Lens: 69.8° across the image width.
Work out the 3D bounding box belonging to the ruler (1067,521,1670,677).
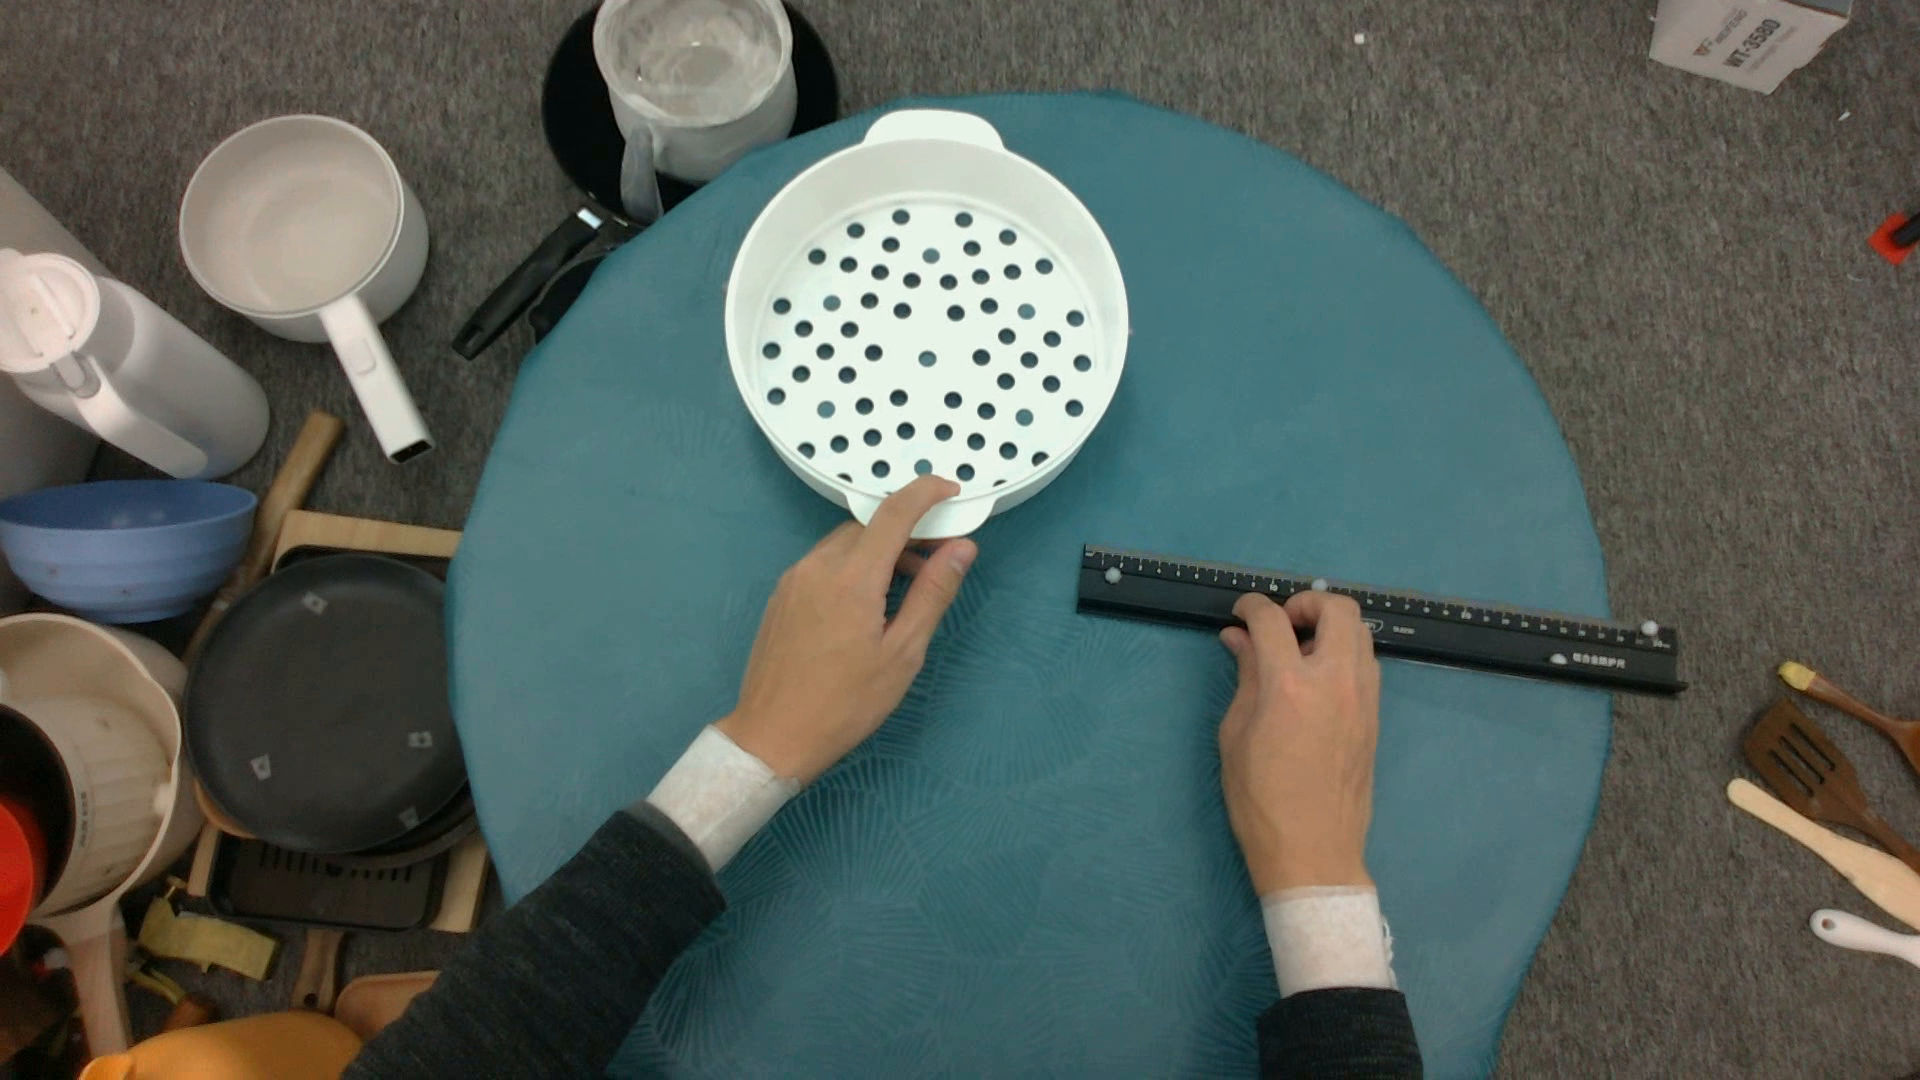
[{"bbox_3d":[0.212,0.030,0.710,0.312,0.017,0.039,9,76,-1],"label":"ruler"}]

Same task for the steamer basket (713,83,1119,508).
[{"bbox_3d":[-0.022,-0.119,0.709,0.202,0.069,0.231,3,74,-2],"label":"steamer basket"}]
